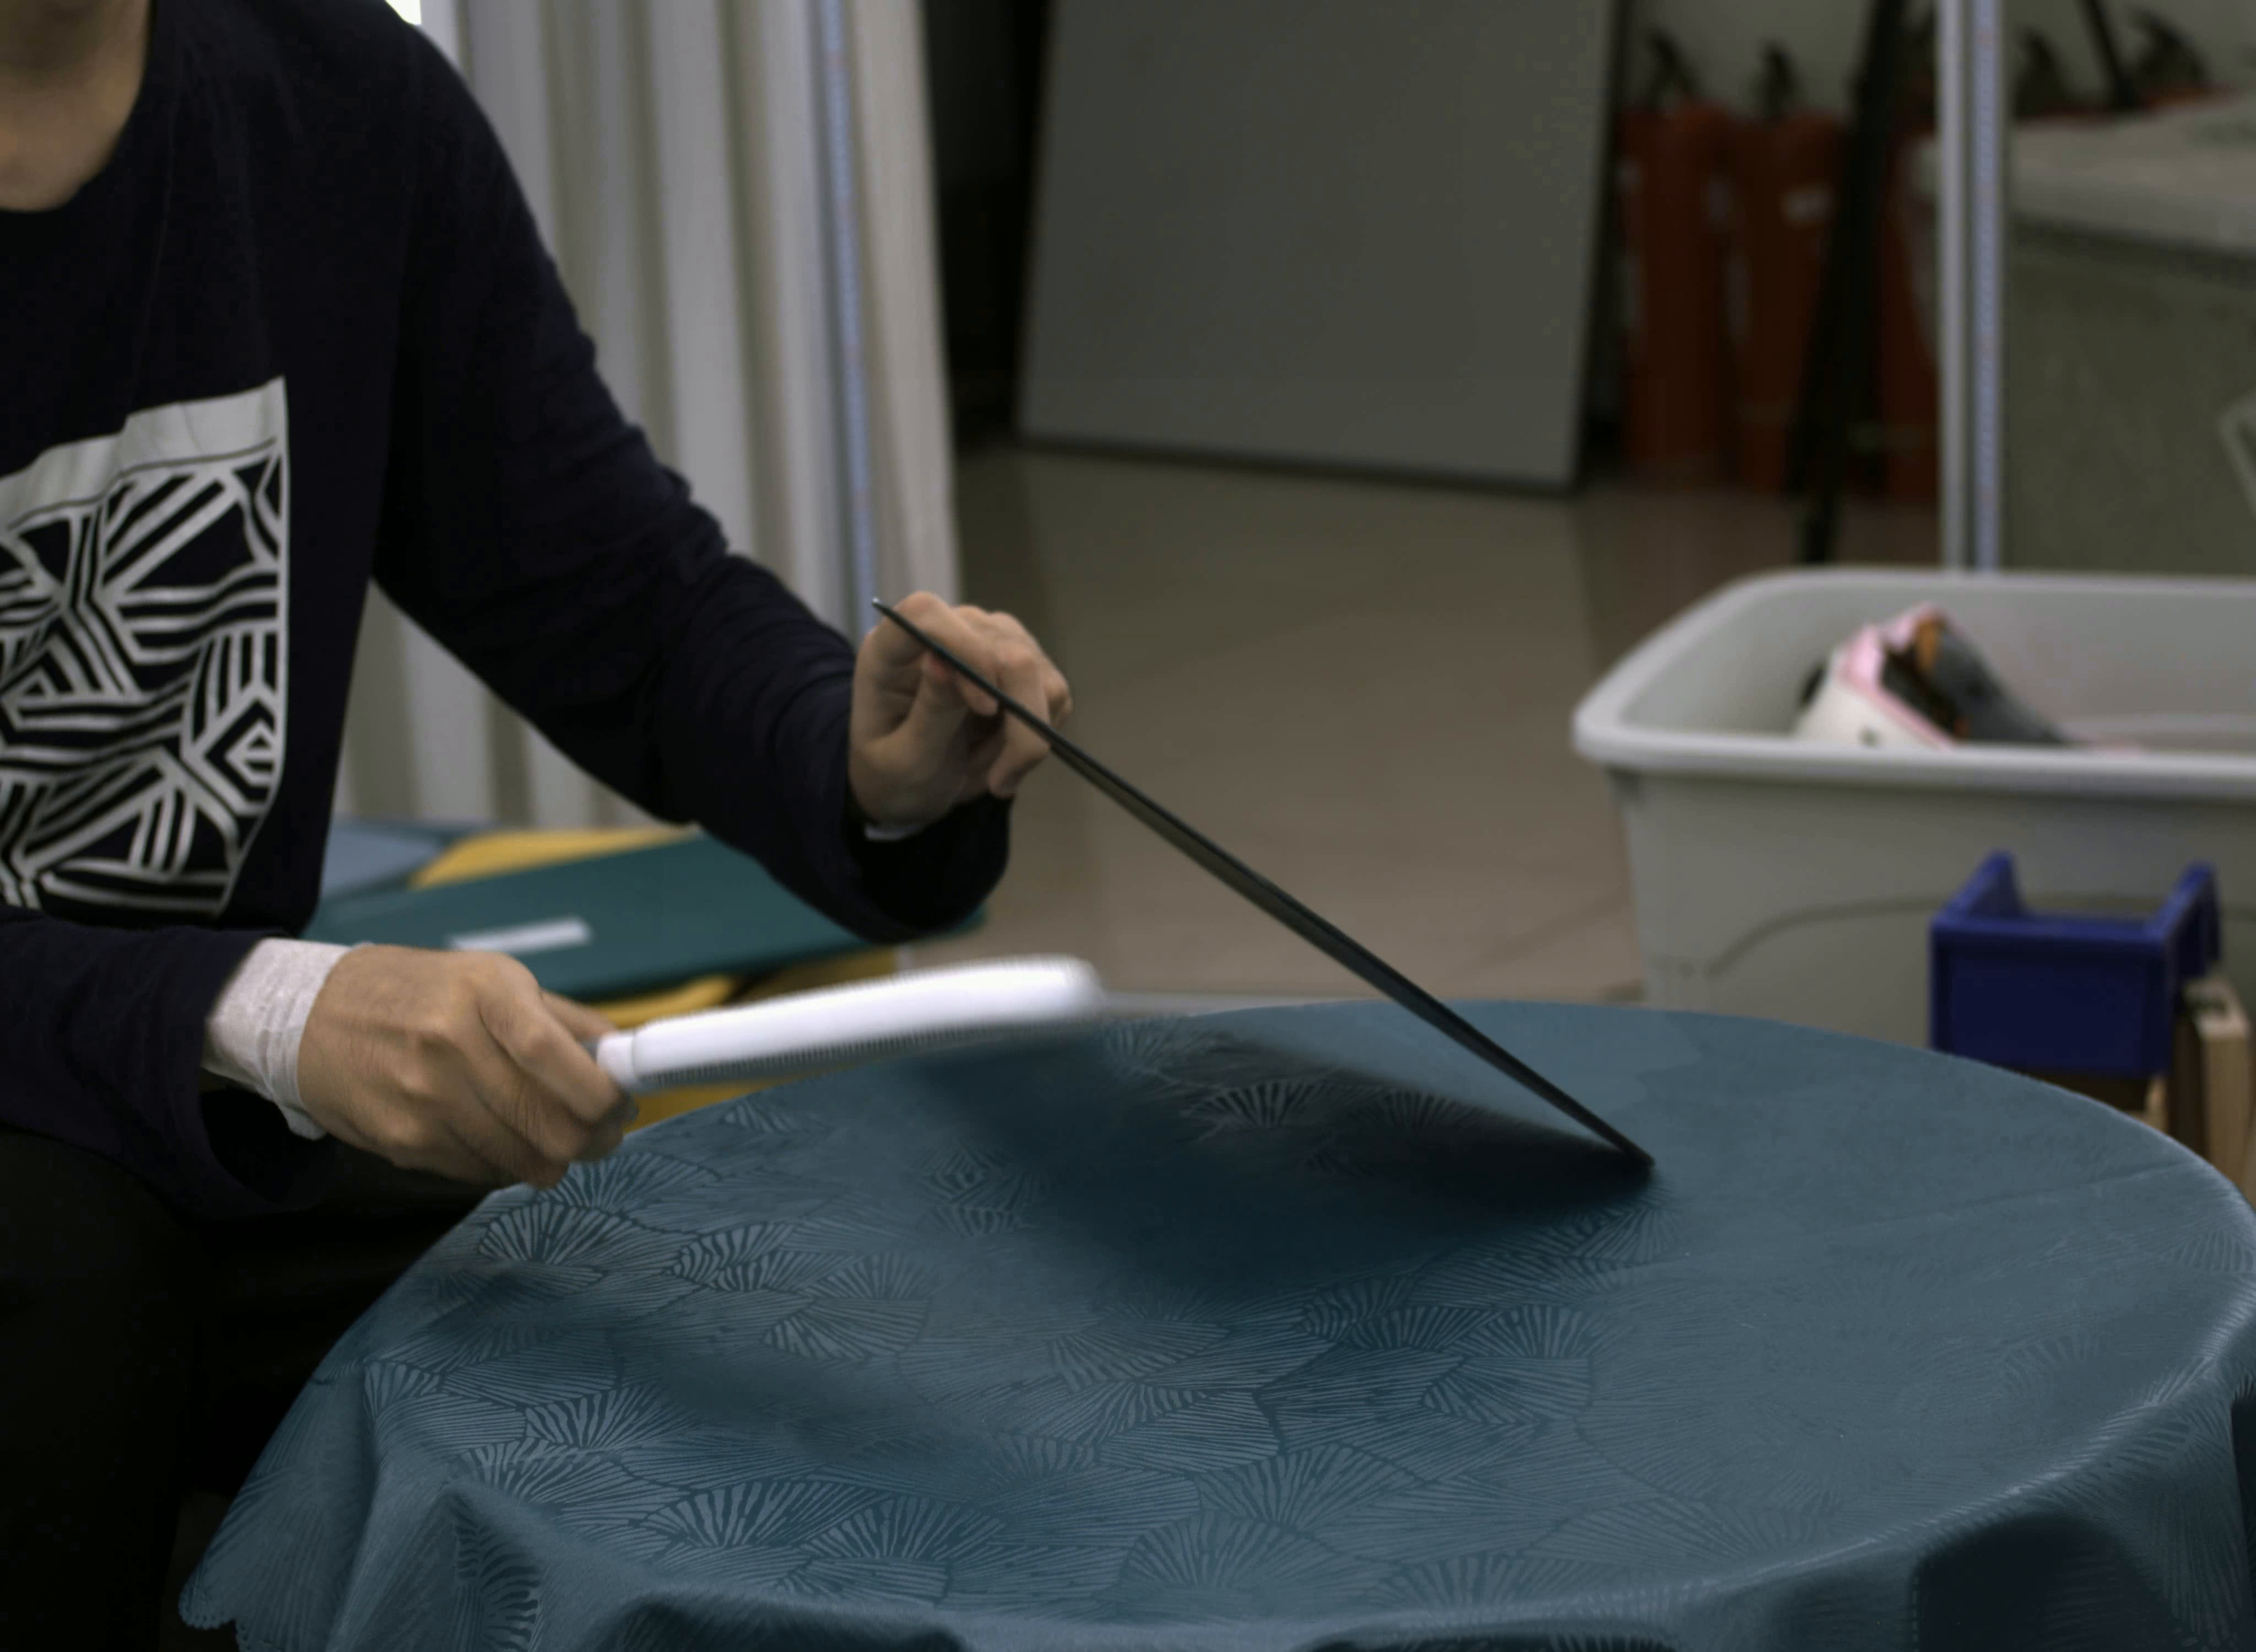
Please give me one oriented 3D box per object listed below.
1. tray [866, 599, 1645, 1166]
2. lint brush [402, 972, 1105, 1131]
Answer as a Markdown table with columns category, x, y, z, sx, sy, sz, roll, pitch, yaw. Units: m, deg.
| category | x | y | z | sx | sy | sz | roll | pitch | yaw |
| --- | --- | --- | --- | --- | --- | --- | --- | --- | --- |
| tray | 0.035 | 0.012 | 1.807 | 0.208 | 0.010 | 0.329 | 38 | -2 | -39 |
| lint brush | -0.121 | 0.070 | 1.647 | 0.059 | 0.021 | 0.311 | 5 | -11 | -44 |
